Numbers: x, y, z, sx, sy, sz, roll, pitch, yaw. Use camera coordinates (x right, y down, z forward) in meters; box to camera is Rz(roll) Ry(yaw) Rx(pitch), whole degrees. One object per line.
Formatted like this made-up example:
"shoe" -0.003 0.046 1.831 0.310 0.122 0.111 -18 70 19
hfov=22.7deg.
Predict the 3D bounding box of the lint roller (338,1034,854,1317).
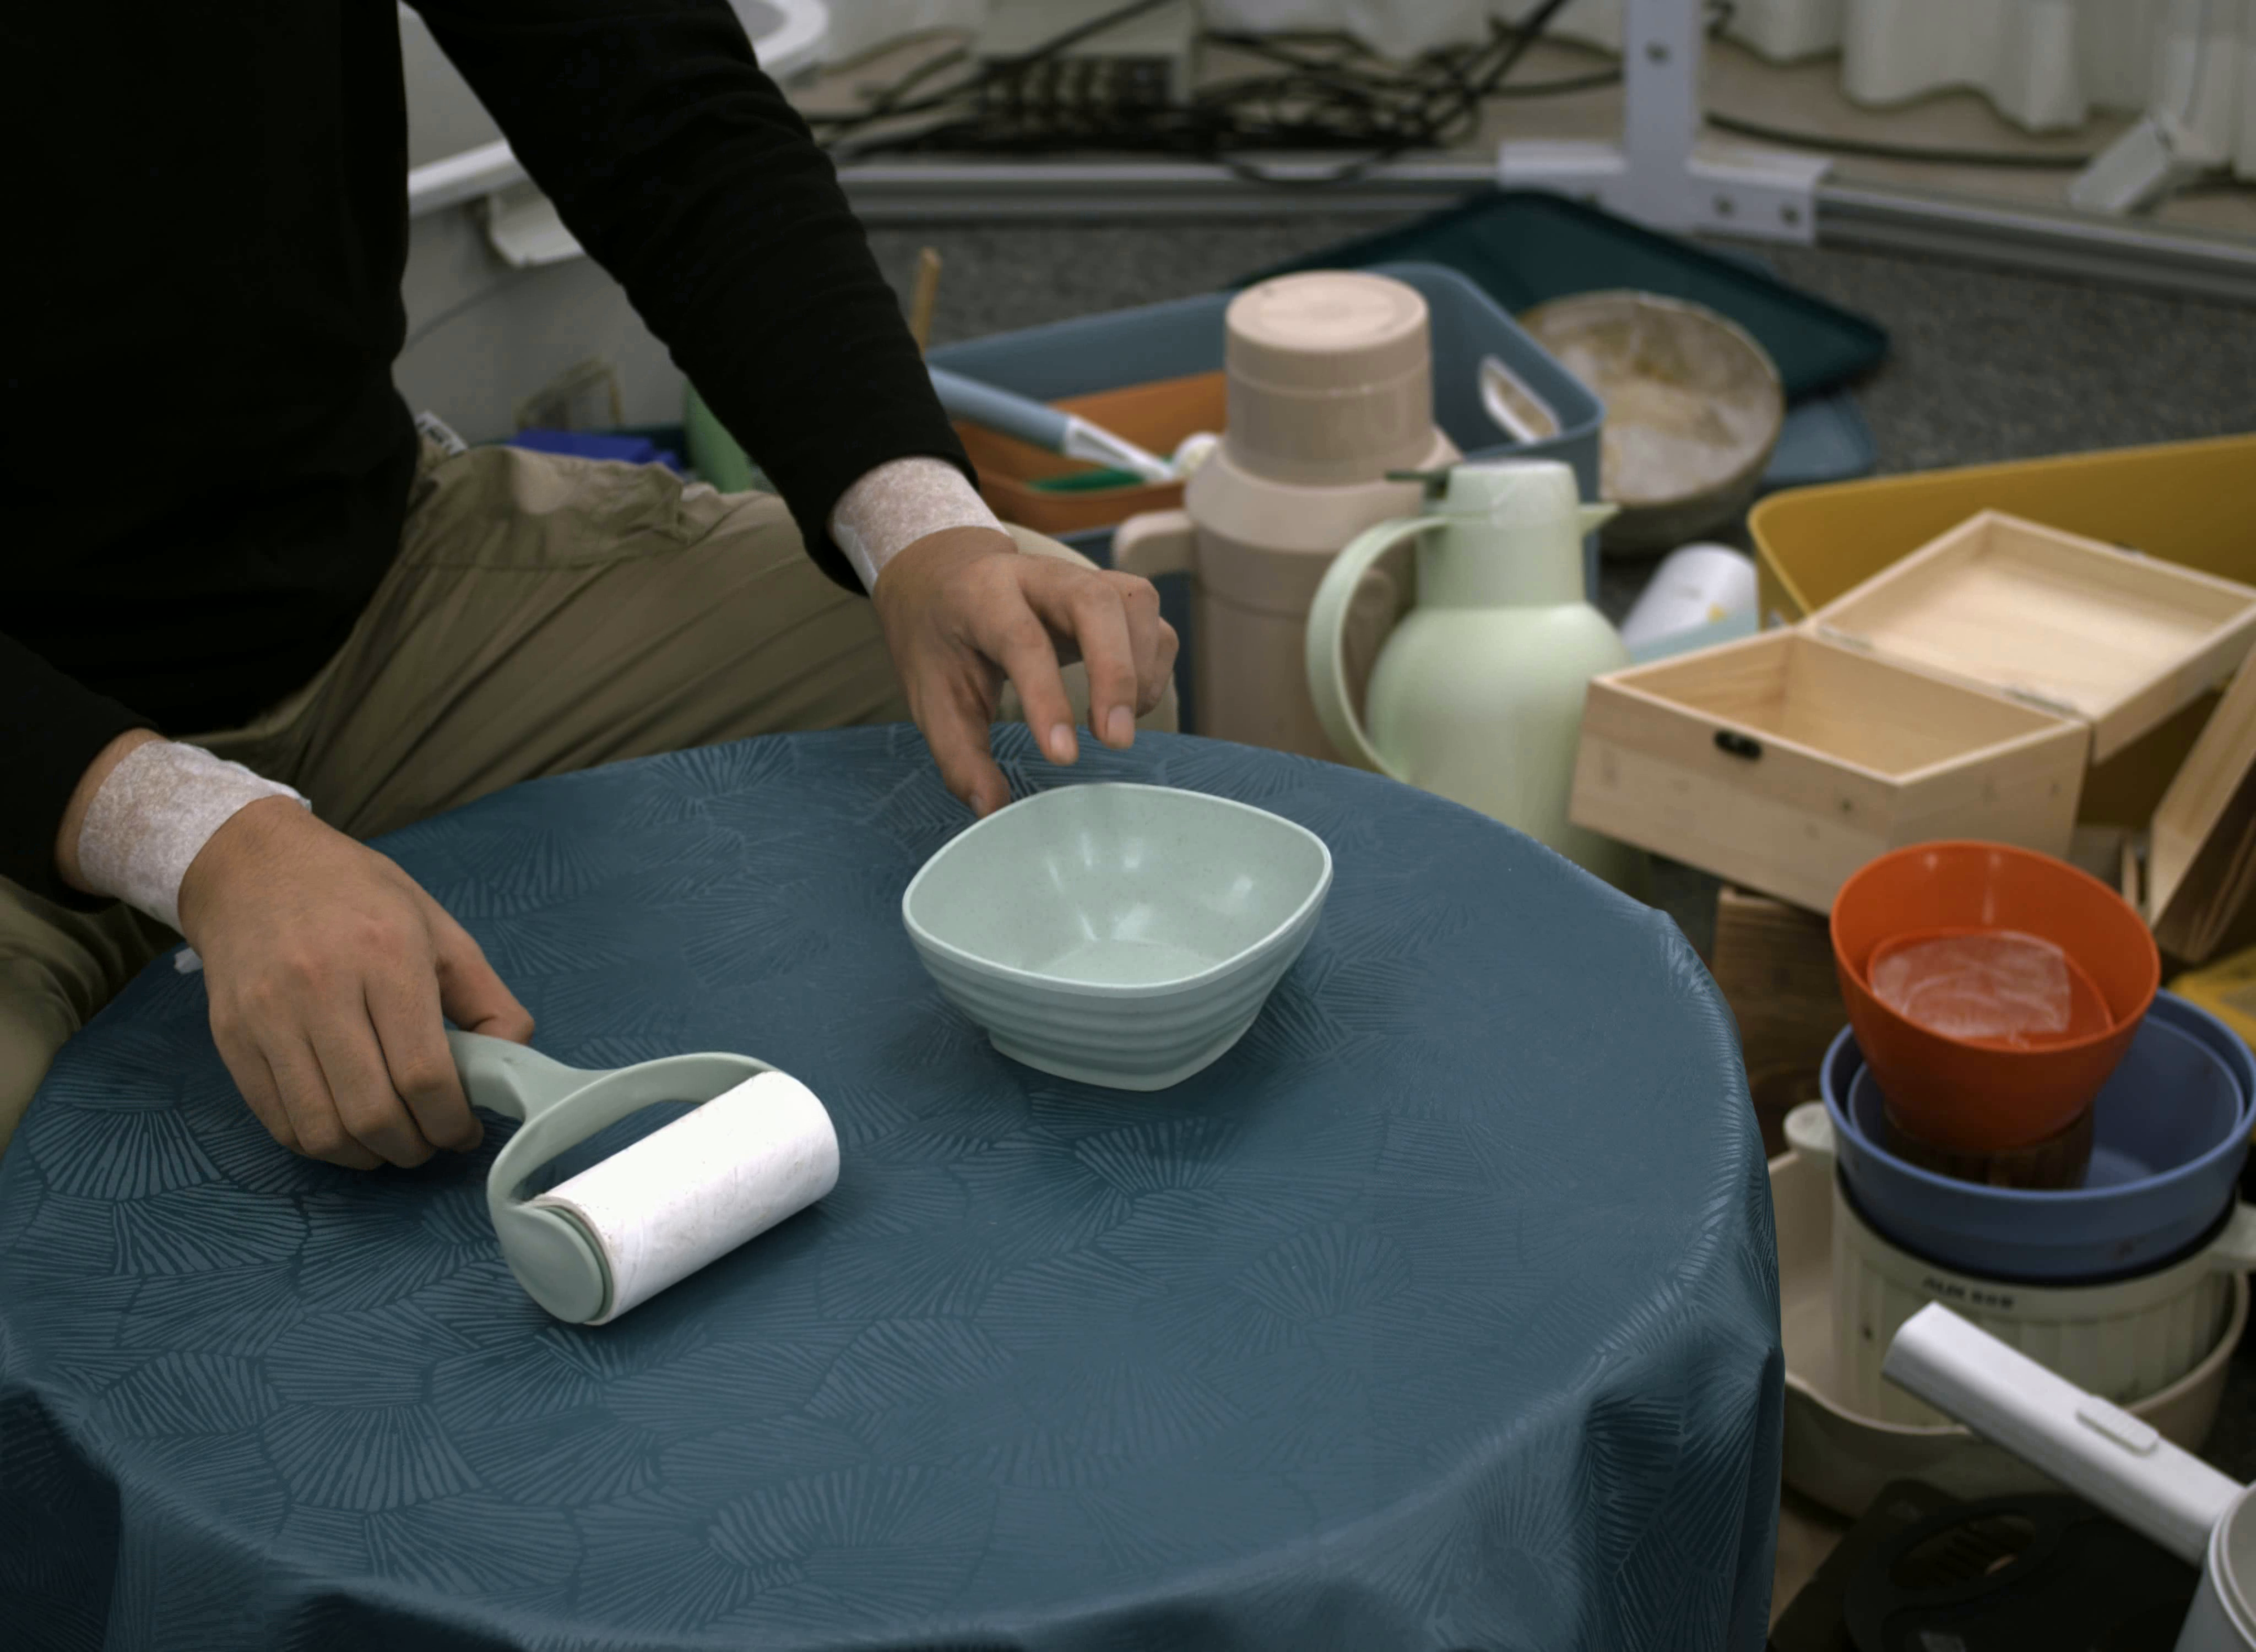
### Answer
"lint roller" -0.194 0.097 1.876 0.197 0.048 0.118 21 37 37

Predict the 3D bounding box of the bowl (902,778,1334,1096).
"bowl" -0.002 0.044 1.950 0.151 0.058 0.154 -2 29 1
